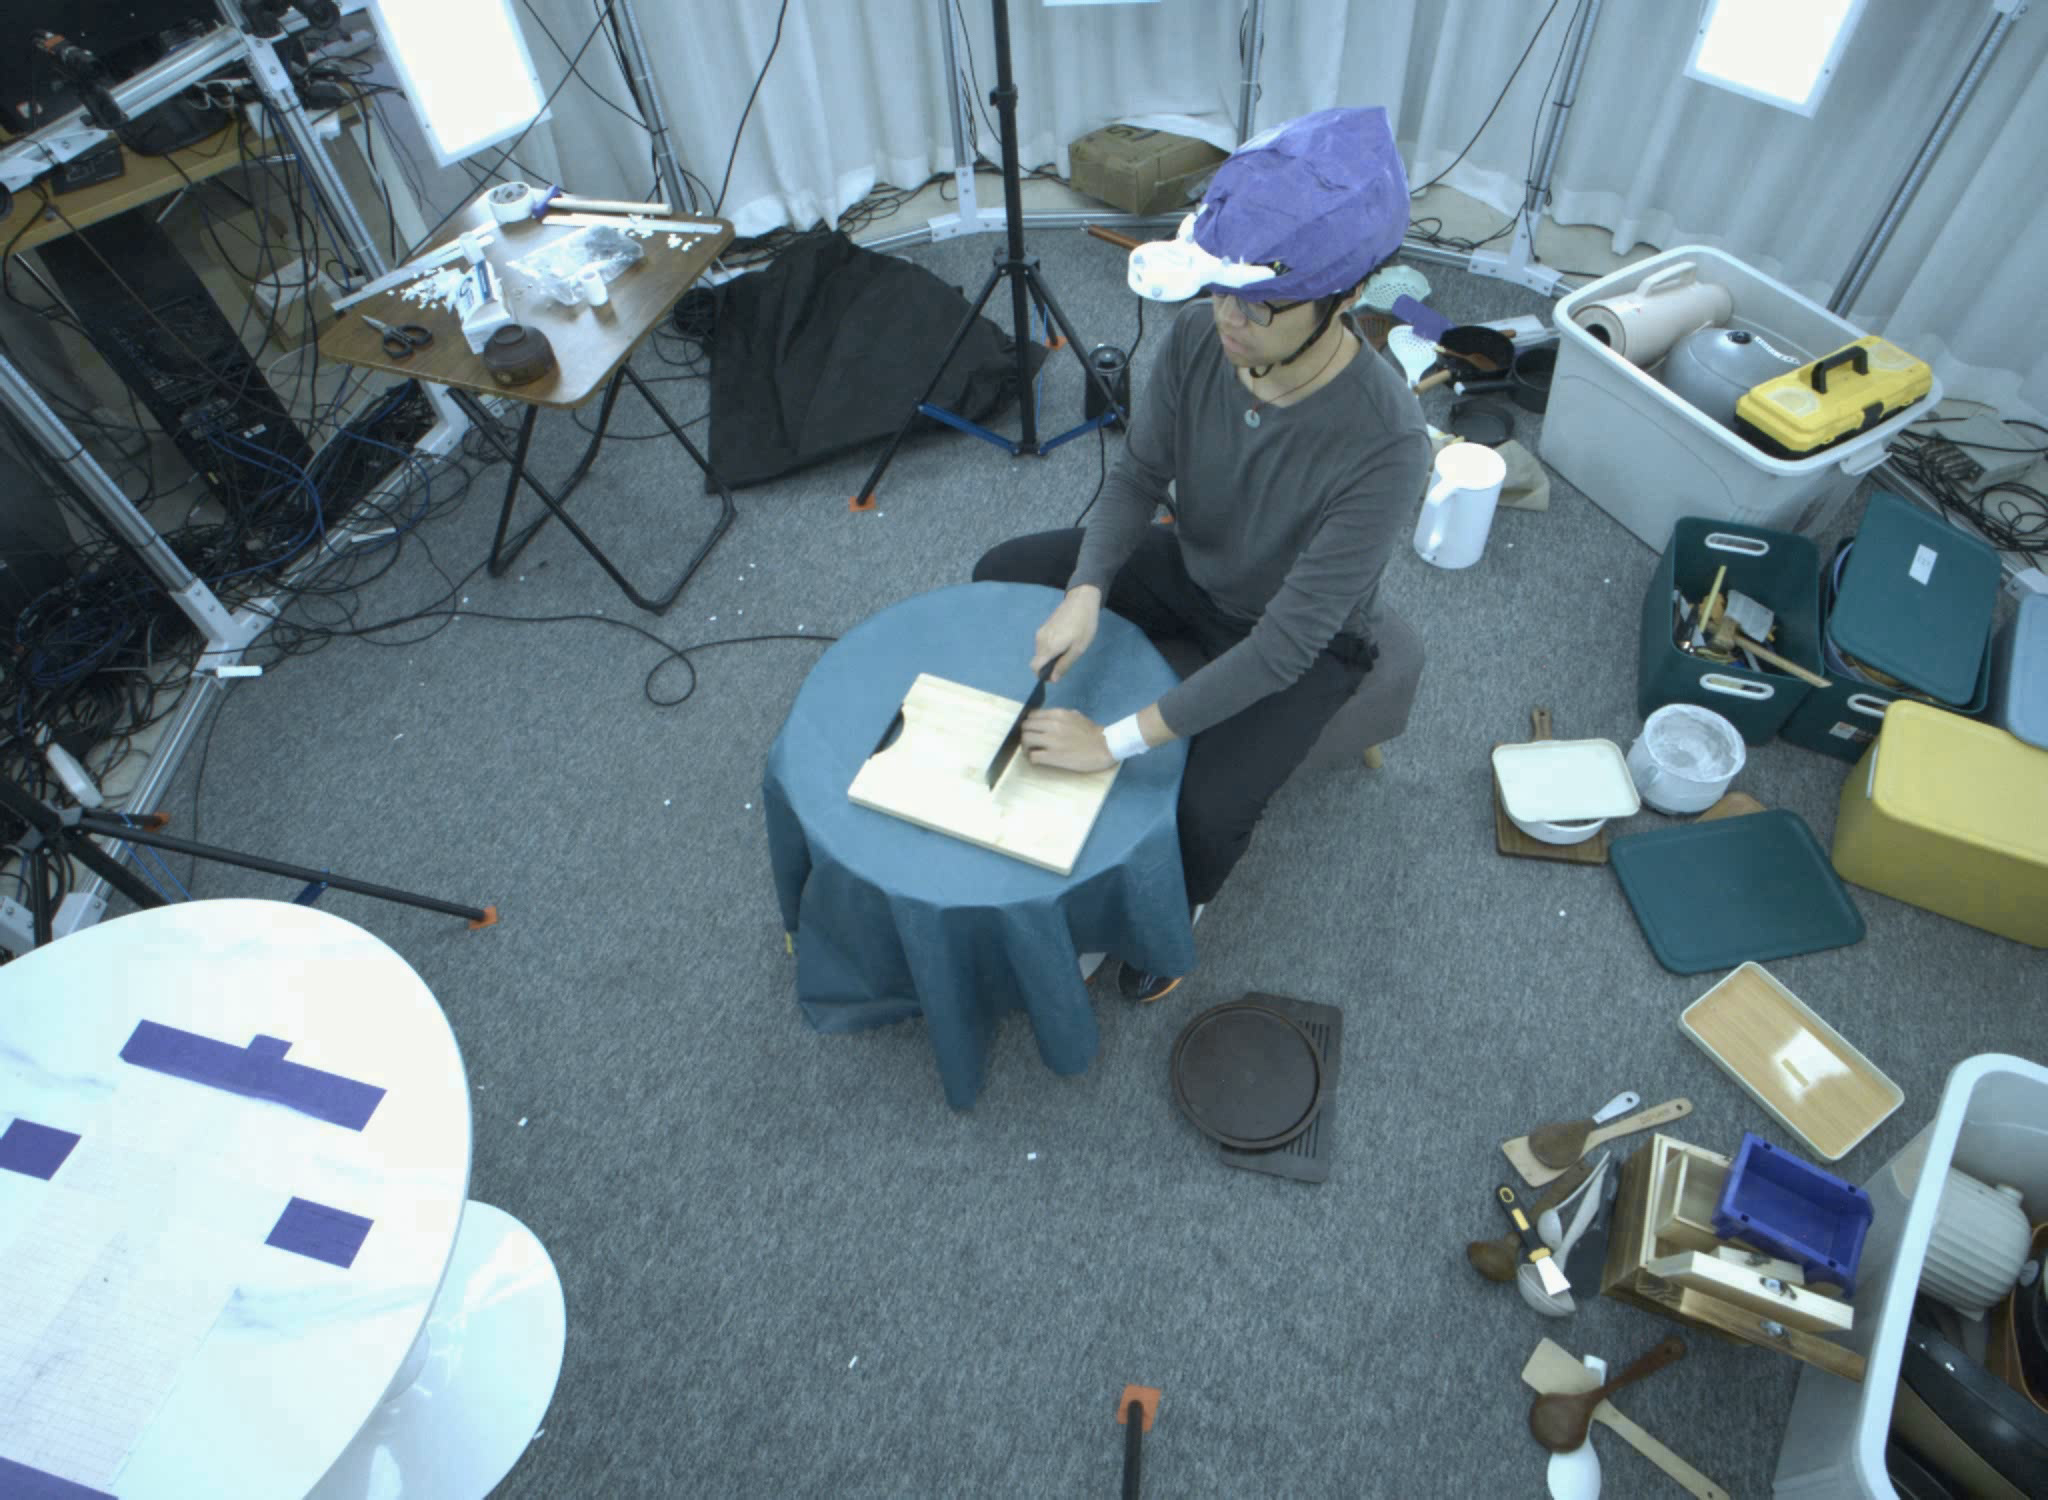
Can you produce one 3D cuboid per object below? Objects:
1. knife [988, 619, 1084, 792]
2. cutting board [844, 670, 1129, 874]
[{"bbox_3d":[0.016,-0.071,1.767,0.020,0.082,0.302,21,64,15],"label":"knife"},{"bbox_3d":[-0.053,0.024,1.769,0.345,0.024,0.250,17,56,13],"label":"cutting board"}]
